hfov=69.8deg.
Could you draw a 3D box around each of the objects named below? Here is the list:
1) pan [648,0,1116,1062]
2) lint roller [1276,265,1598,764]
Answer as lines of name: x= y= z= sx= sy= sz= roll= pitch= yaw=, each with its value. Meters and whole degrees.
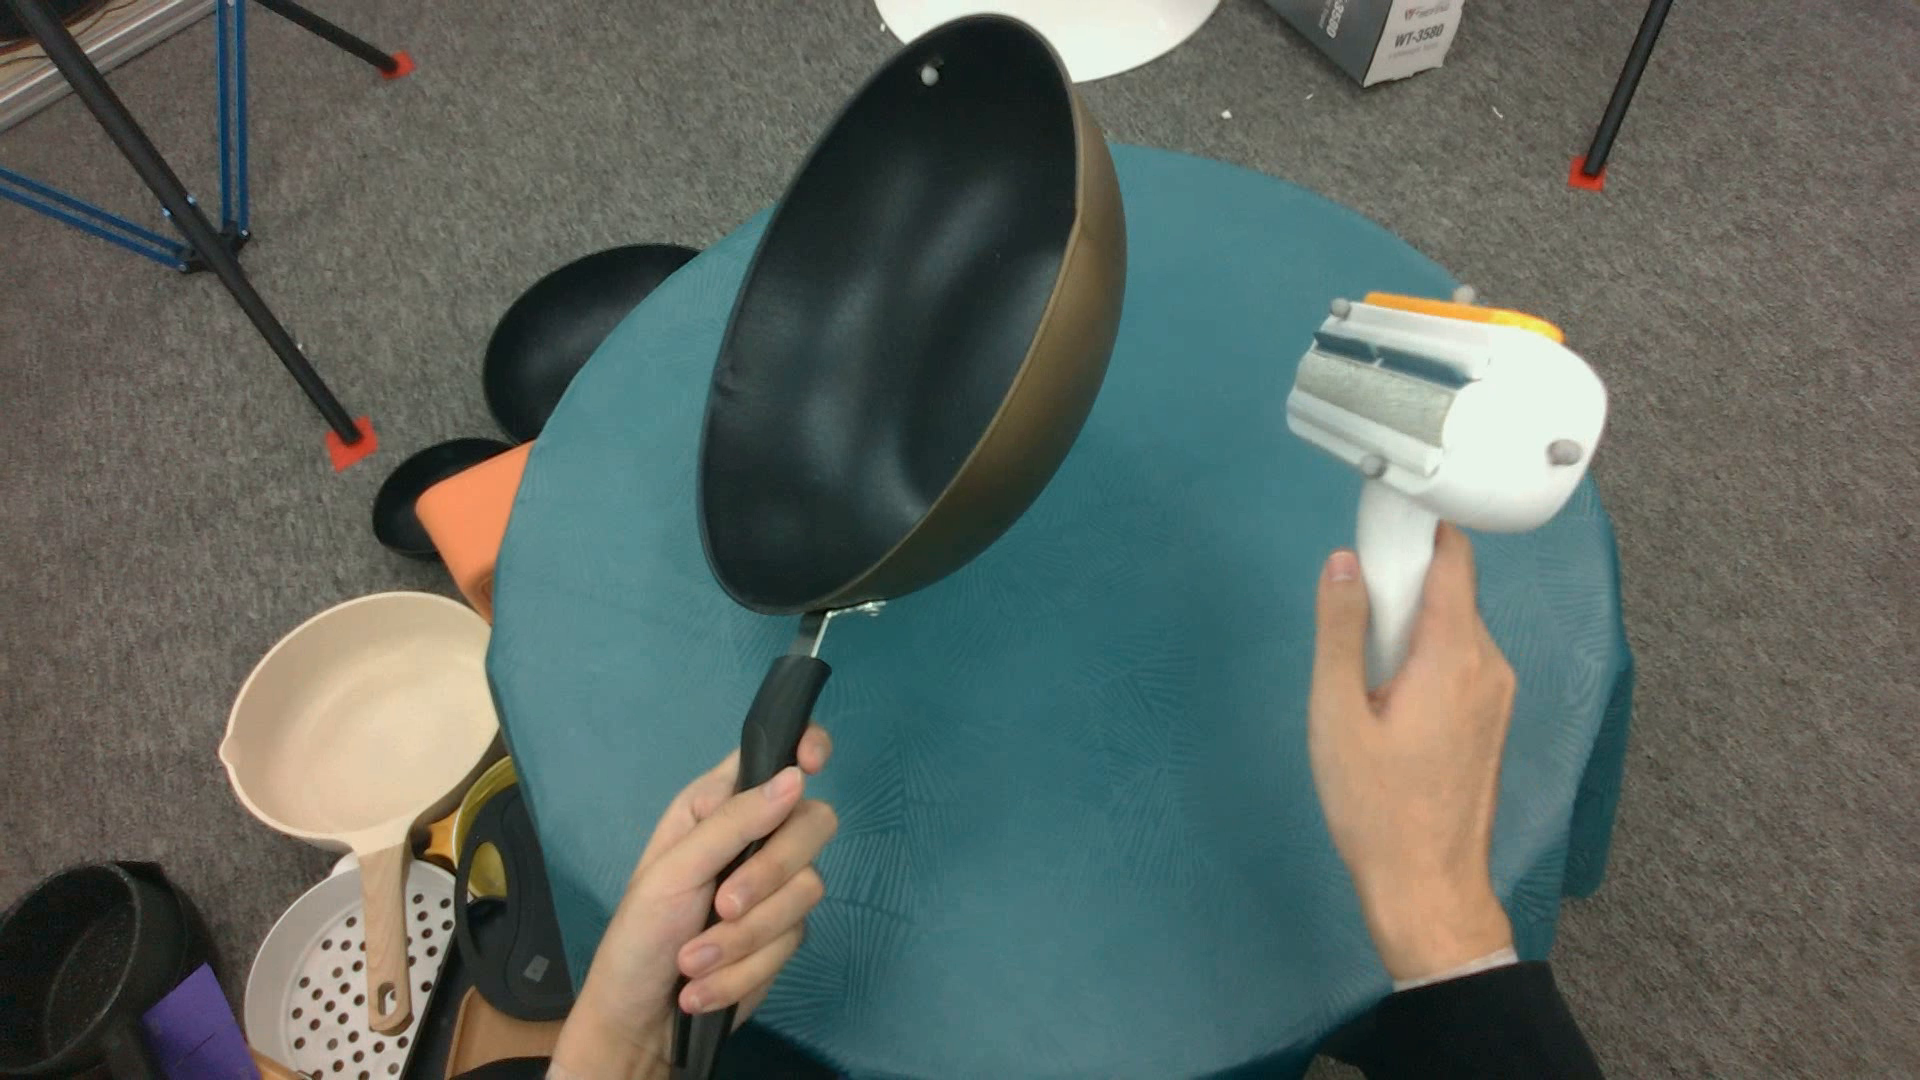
pan: x=-0.040 y=-0.012 z=0.602 sx=0.287 sy=0.087 sz=0.464 roll=-9 pitch=65 yaw=52
lint roller: x=0.165 y=-0.003 z=0.540 sx=0.074 sy=0.192 sz=0.193 roll=10 pitch=16 yaw=-11
